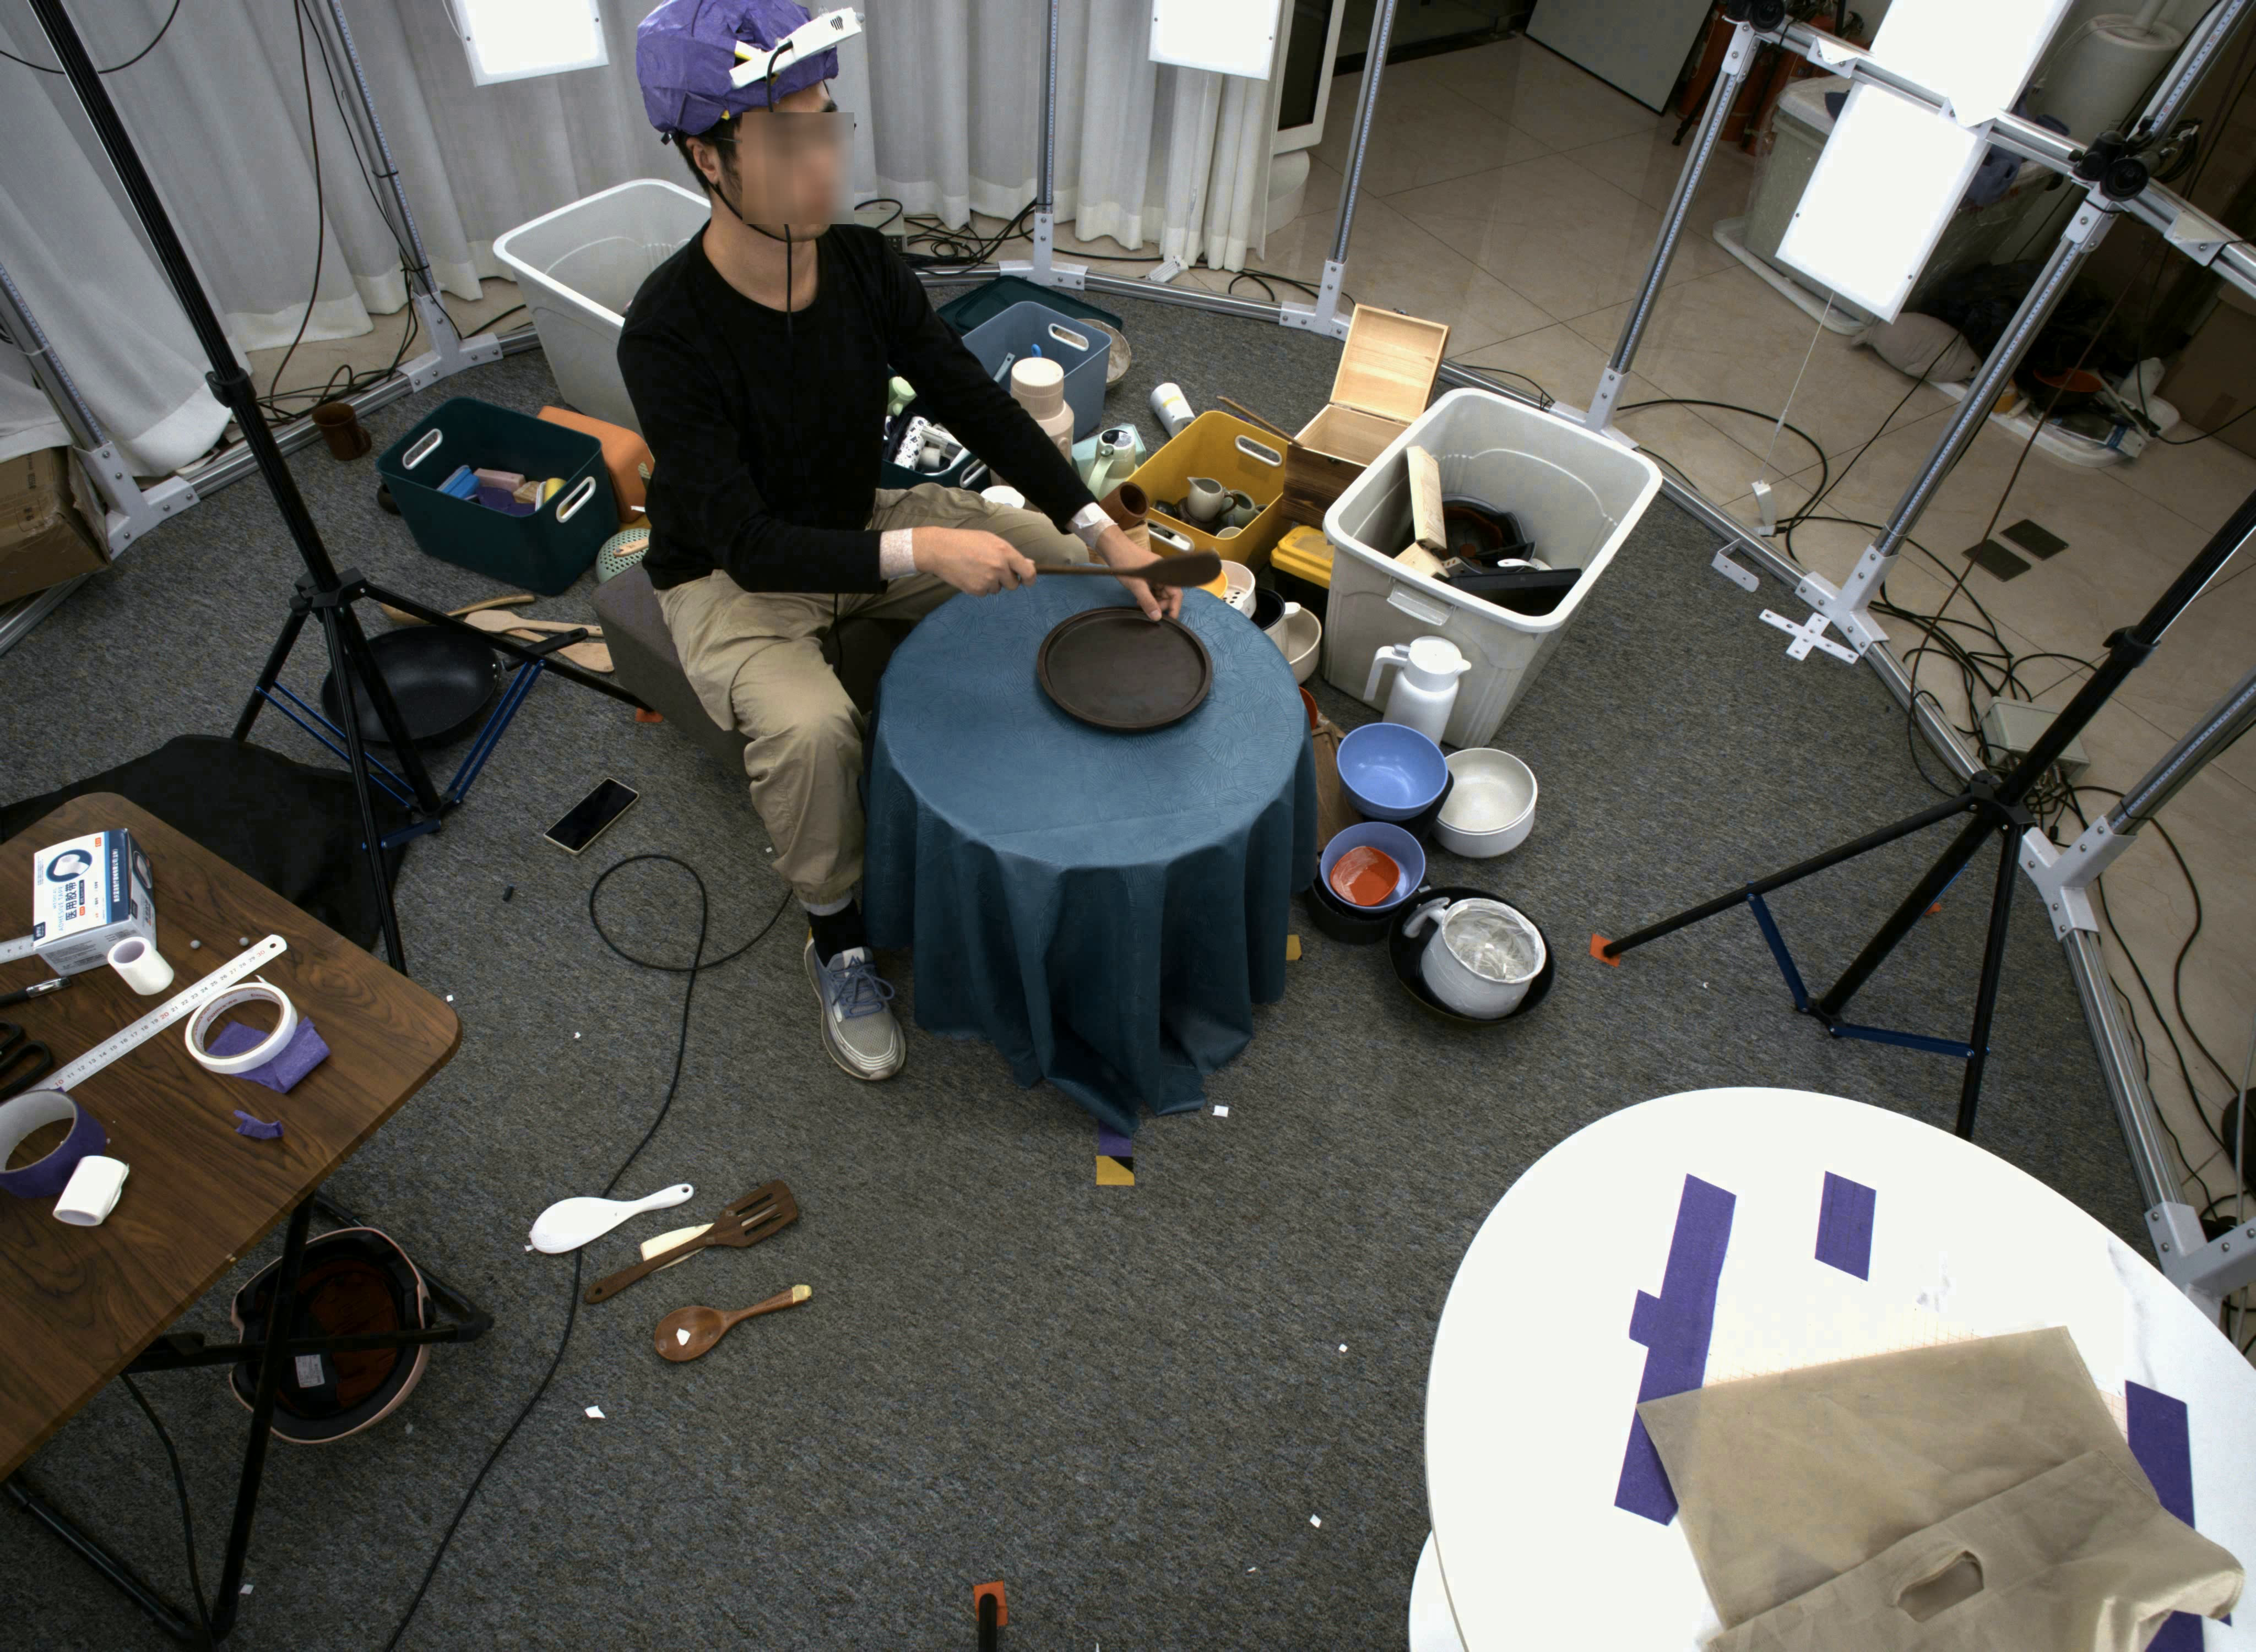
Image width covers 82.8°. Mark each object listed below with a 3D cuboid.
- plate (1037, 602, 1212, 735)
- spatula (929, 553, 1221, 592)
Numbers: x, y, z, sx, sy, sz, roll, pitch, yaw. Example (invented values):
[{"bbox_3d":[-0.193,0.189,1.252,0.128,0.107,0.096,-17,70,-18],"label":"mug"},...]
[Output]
[{"bbox_3d":[-0.005,-0.226,1.851,0.254,0.028,0.261,2,51,-3],"label":"plate"},{"bbox_3d":[-0.070,-0.336,1.704,0.386,0.094,0.016,2,74,3],"label":"spatula"}]
